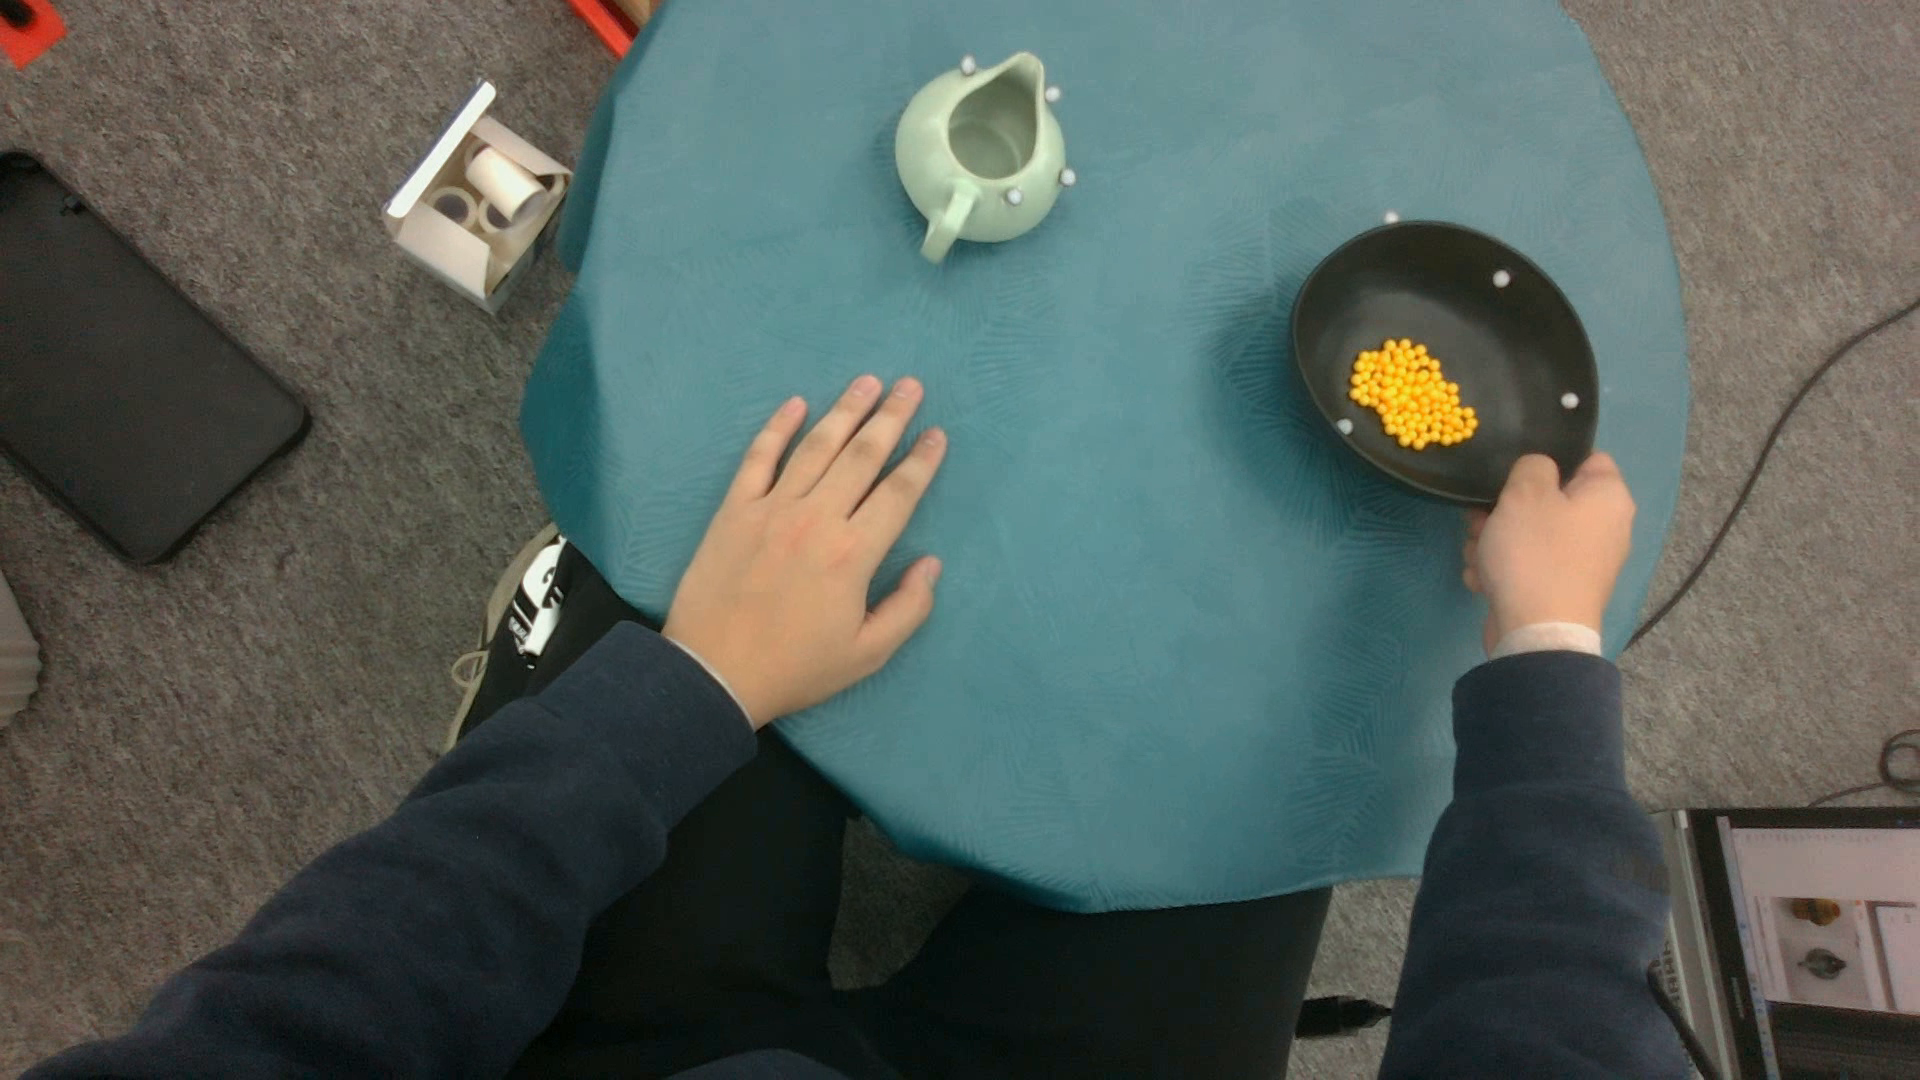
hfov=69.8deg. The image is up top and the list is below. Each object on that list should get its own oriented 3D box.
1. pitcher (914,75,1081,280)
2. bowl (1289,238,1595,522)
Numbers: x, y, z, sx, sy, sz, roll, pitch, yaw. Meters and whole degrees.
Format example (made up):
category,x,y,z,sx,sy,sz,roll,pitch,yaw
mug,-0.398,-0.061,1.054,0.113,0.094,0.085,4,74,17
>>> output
category,x,y,z,sx,sy,sz,roll,pitch,yaw
pitcher,0.016,-0.177,0.690,0.086,0.060,0.108,25,82,-6
bowl,0.244,-0.077,0.716,0.170,0.066,0.137,27,79,-1
